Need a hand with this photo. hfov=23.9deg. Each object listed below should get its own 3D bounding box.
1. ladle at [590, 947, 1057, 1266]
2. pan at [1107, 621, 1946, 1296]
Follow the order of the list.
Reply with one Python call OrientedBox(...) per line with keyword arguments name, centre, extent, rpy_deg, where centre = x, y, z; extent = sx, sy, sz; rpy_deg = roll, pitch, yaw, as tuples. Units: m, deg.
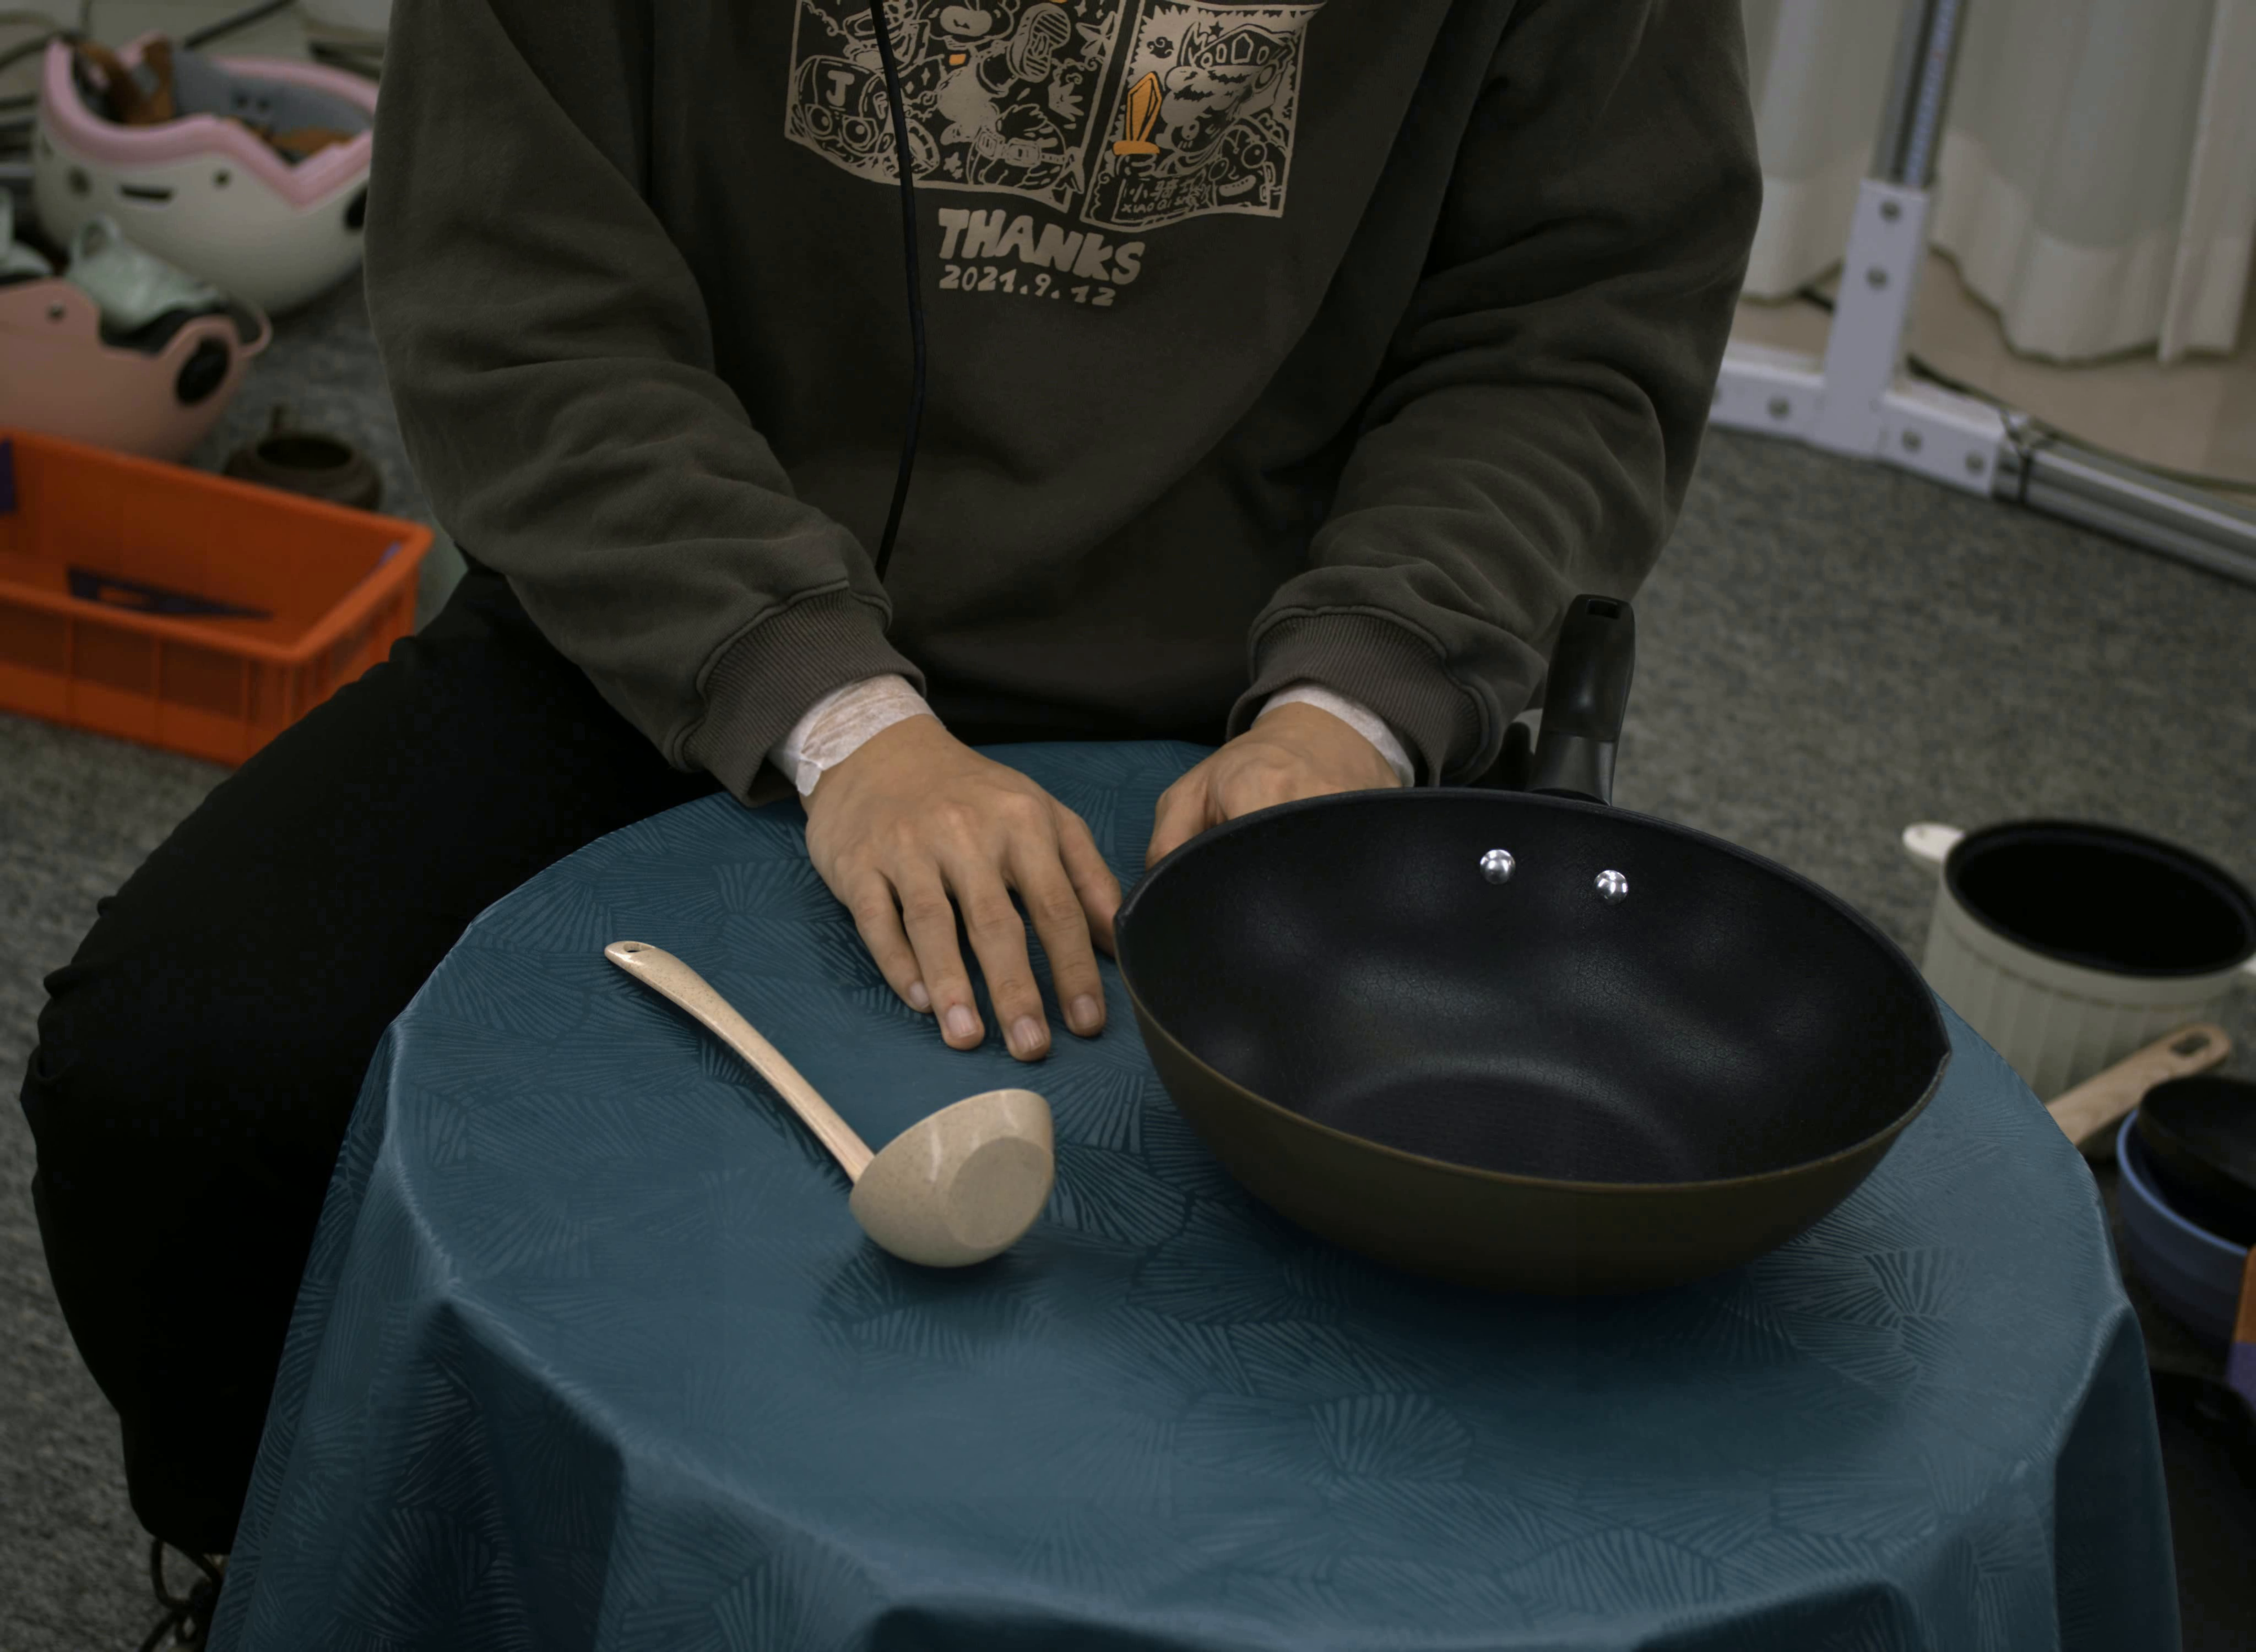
OrientedBox(name="ladle", centre=(-0.114, 0.068, 1.808), extent=(0.072, 0.072, 0.256), rpy_deg=(-18, 35, -31))
OrientedBox(name="pan", centre=(0.145, 0.046, 1.899), extent=(0.288, 0.086, 0.465), rpy_deg=(9, 26, 6))
